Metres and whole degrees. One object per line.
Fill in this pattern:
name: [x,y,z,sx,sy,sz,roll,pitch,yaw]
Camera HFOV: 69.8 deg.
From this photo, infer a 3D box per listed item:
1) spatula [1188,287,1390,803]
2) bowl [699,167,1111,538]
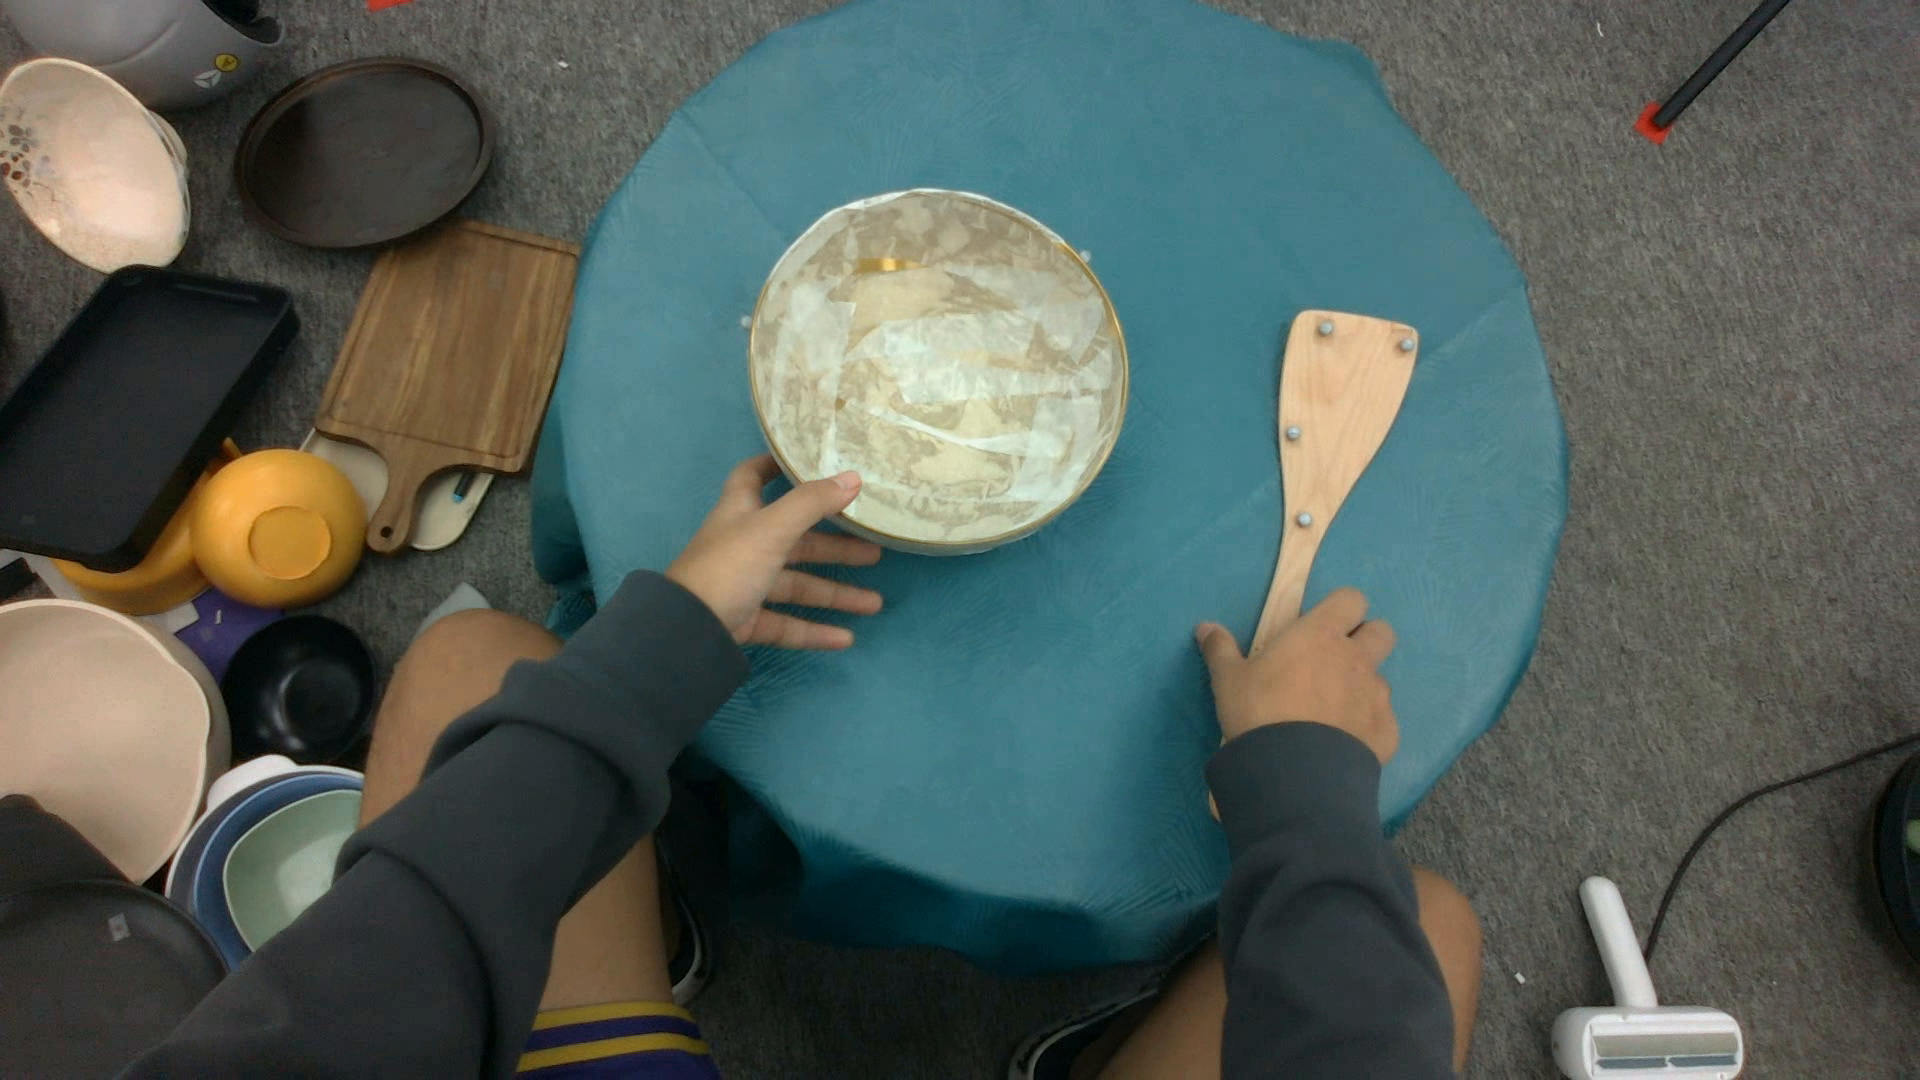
spatula: [0.181,-0.007,0.797,0.080,0.016,0.328,19,70,-3]
bowl: [-0.030,-0.088,0.747,0.215,0.094,0.215,3,71,-9]
